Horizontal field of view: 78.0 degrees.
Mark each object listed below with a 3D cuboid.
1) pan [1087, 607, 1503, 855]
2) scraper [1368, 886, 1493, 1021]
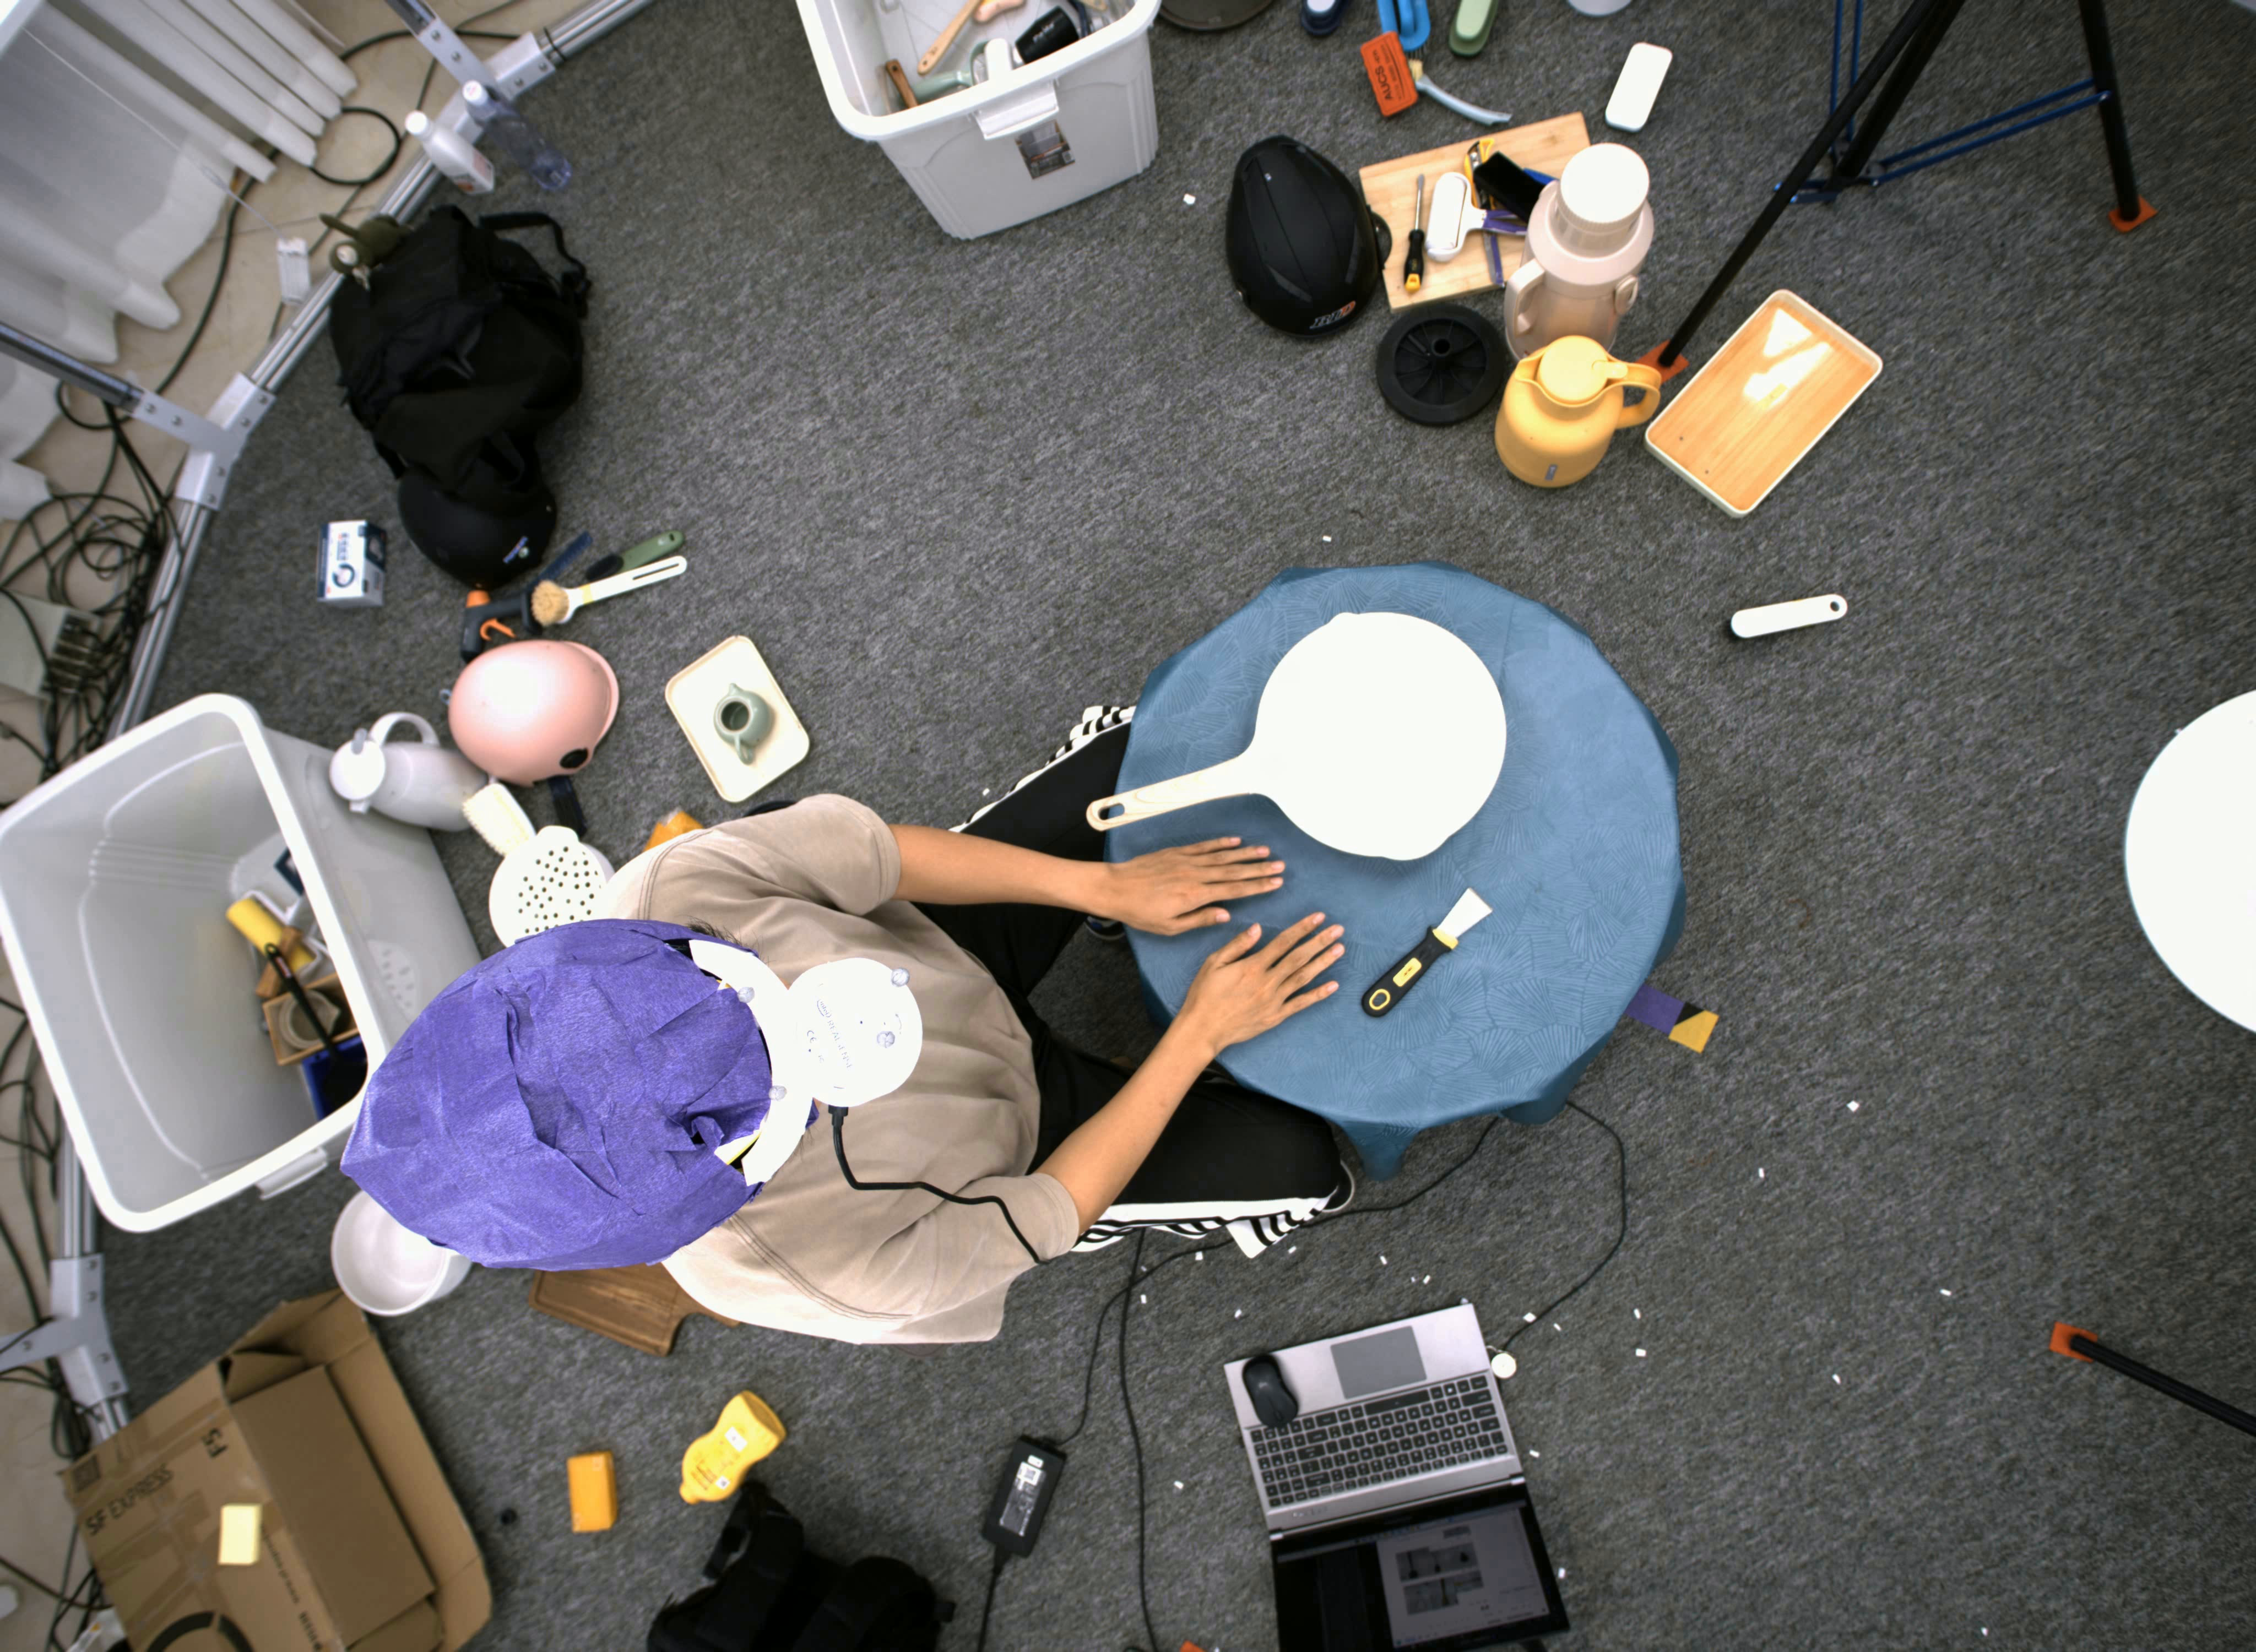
[{"bbox_3d":[0.171,-0.069,1.441,0.437,0.102,0.262,-18,86,9],"label":"pan"},{"bbox_3d":[0.313,0.135,1.441,0.039,0.015,0.171,43,92,6],"label":"scraper"}]
